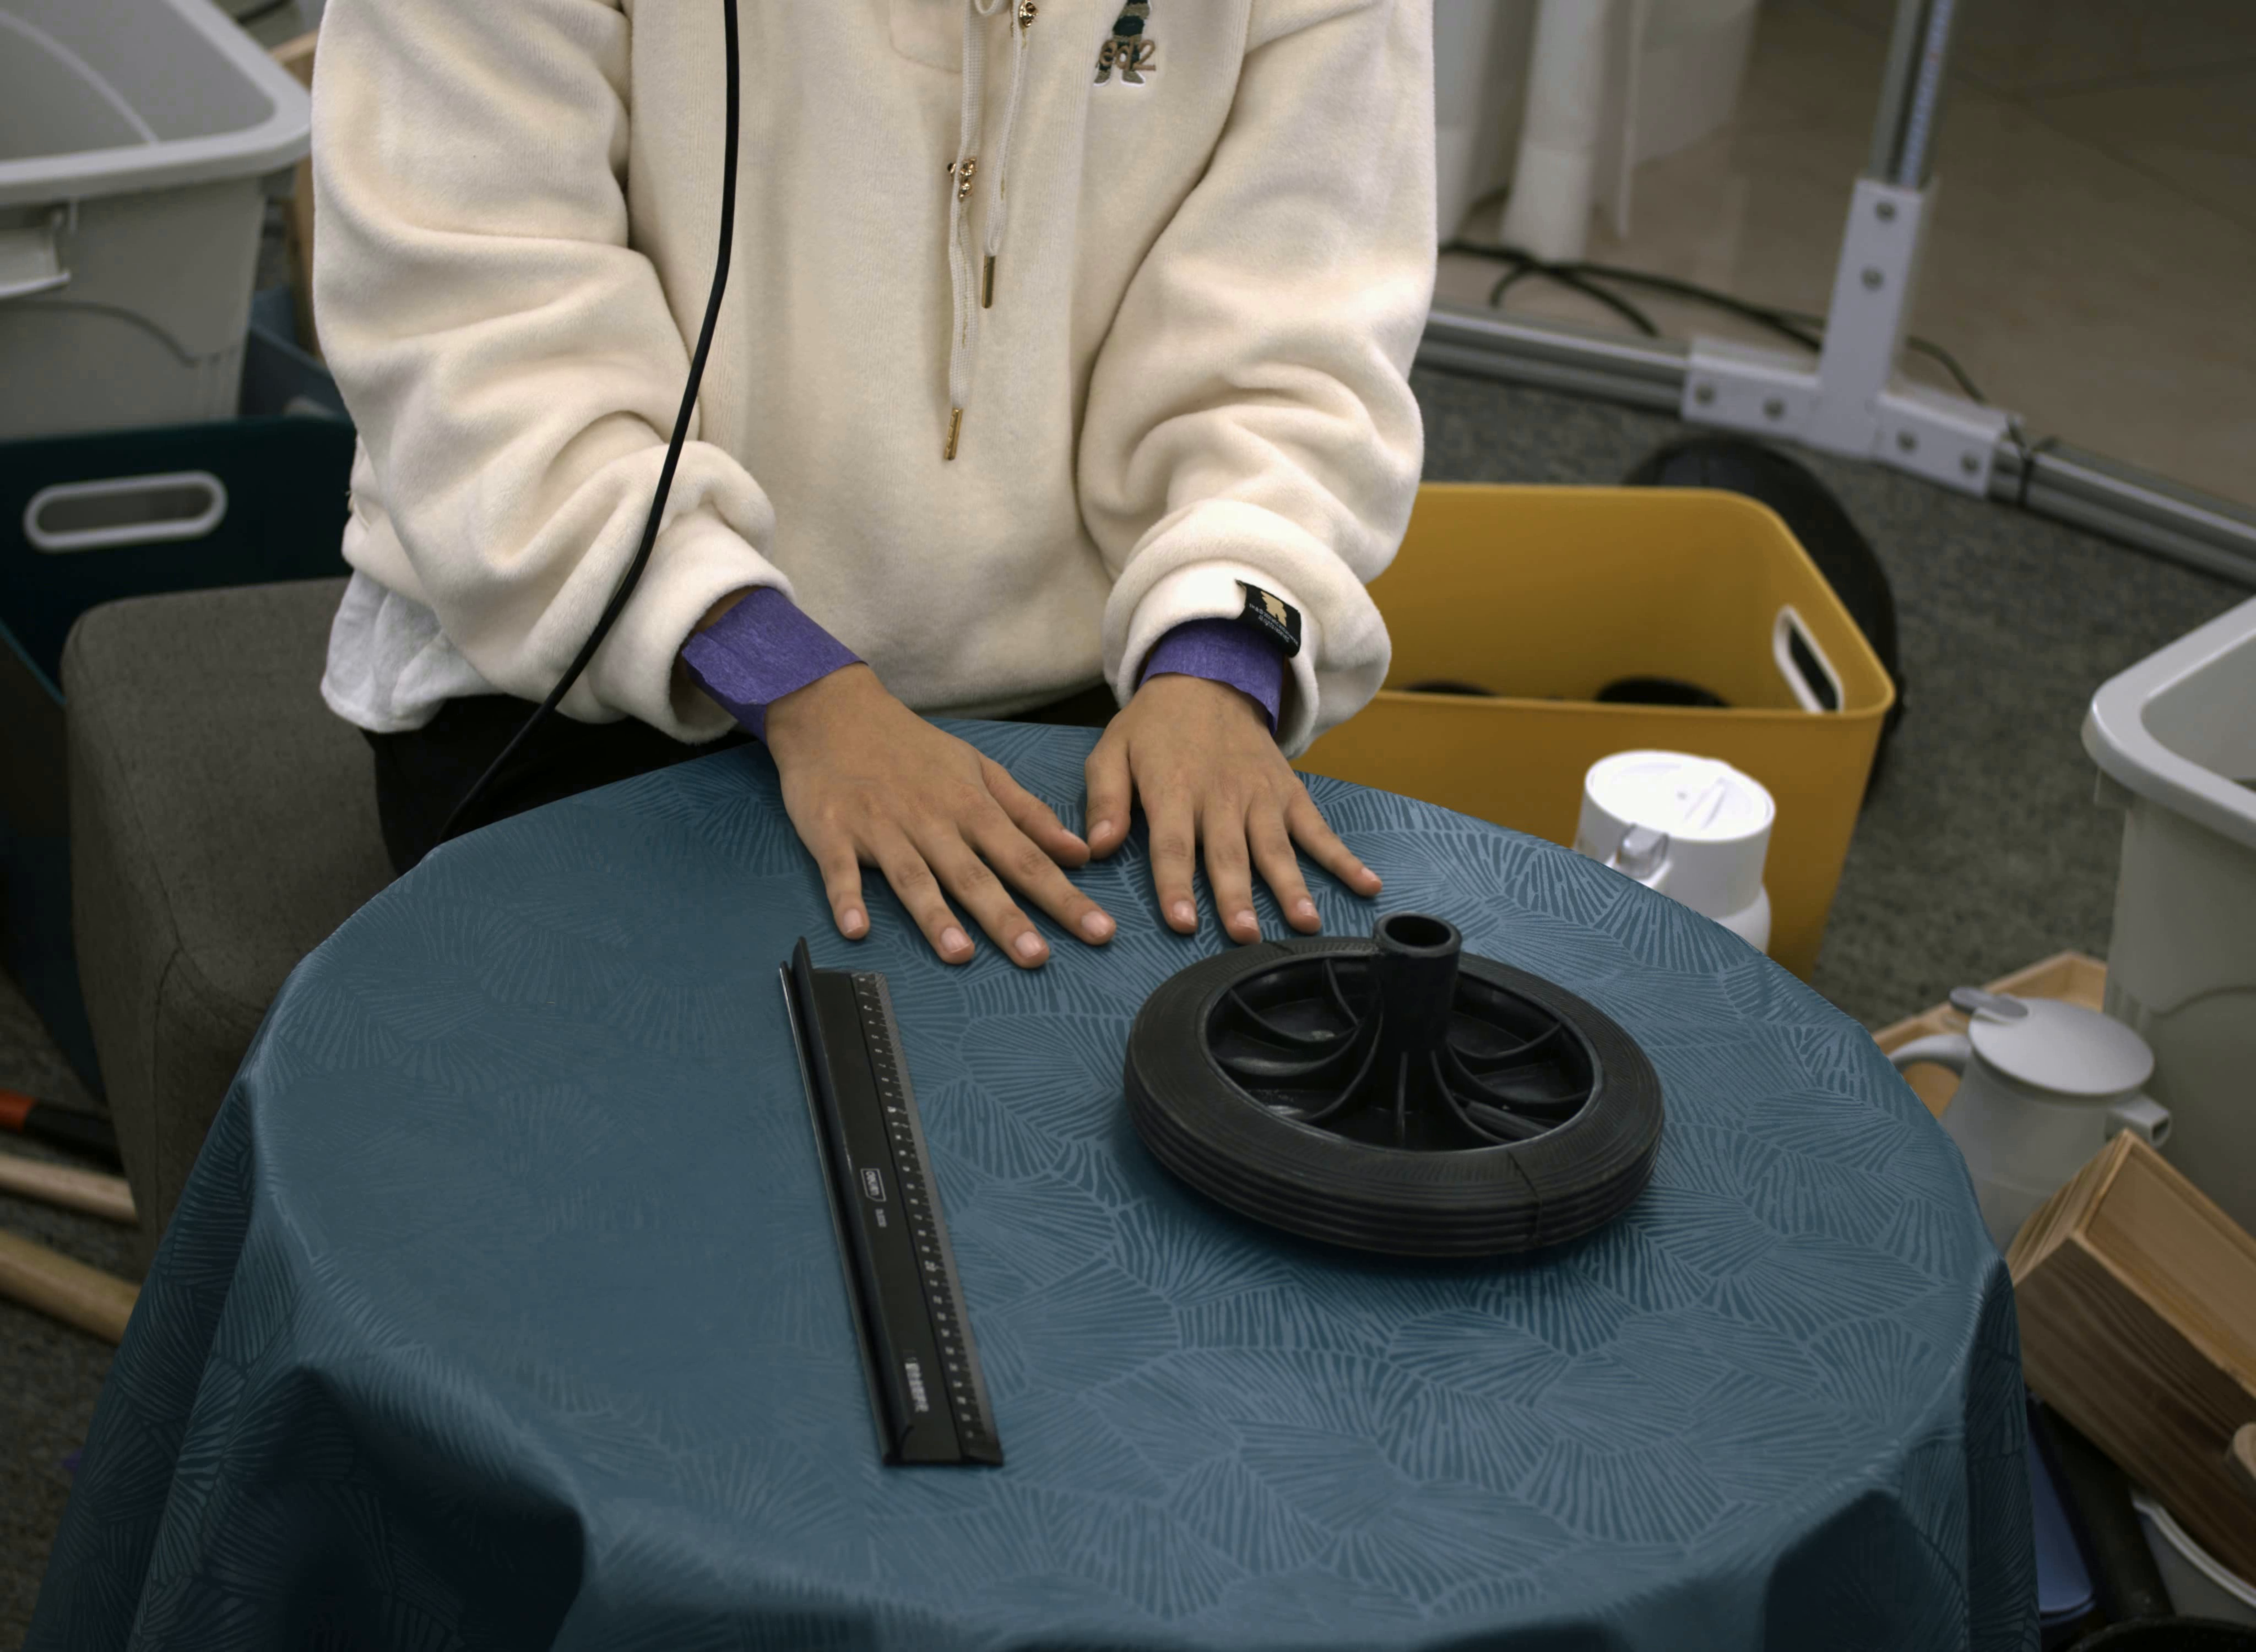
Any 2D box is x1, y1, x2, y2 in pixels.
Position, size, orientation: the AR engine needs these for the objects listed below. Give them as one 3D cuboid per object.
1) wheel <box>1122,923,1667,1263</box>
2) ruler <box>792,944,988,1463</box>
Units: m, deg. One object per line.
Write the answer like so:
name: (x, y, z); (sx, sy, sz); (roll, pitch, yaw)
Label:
wheel: (0.095, 0.075, 1.834); (0.189, 0.079, 0.188); (9, 27, 5)
ruler: (-0.080, 0.120, 1.775); (0.039, 0.017, 0.315); (5, 26, -11)
